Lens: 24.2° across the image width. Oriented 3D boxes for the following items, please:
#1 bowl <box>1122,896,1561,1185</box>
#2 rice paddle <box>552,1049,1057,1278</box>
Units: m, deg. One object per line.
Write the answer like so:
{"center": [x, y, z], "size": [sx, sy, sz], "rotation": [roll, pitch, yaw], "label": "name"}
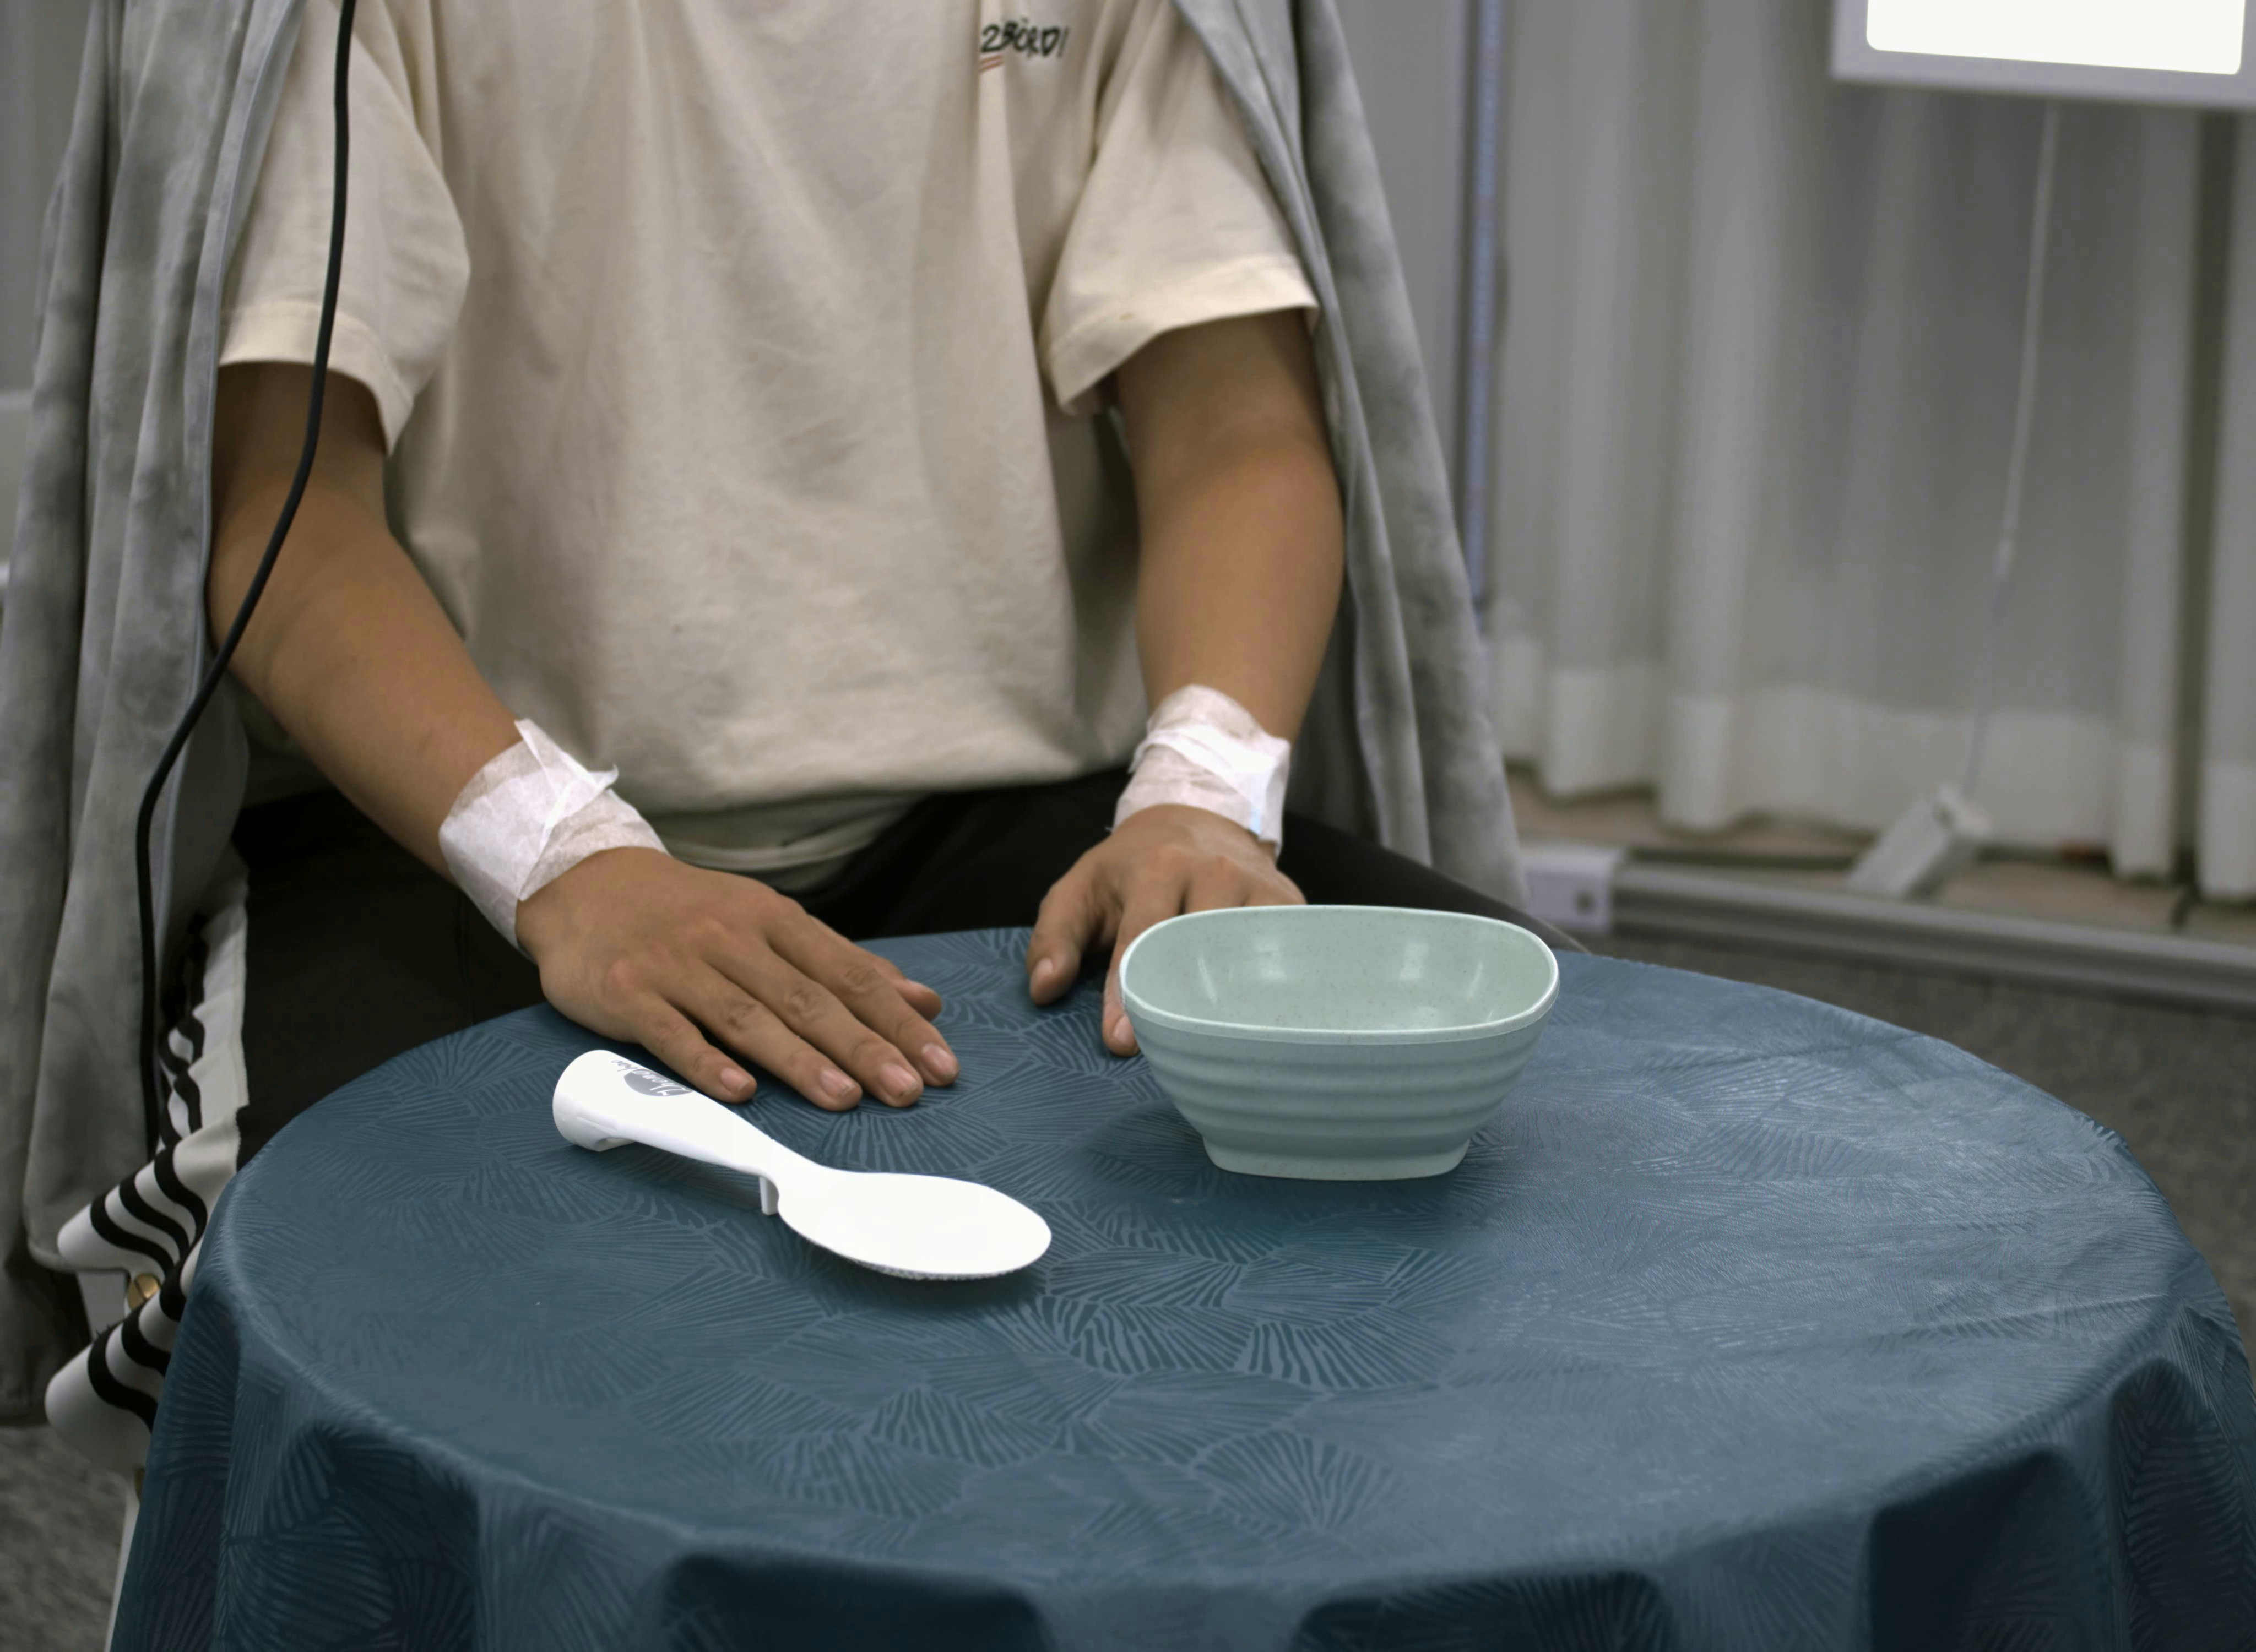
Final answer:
{"center": [0.067, 0.071, 1.670], "size": [0.151, 0.059, 0.150], "rotation": [0, 18, 1], "label": "bowl"}
{"center": [-0.100, 0.104, 1.595], "size": [0.069, 0.029, 0.202], "rotation": [-16, 22, -41], "label": "rice paddle"}
